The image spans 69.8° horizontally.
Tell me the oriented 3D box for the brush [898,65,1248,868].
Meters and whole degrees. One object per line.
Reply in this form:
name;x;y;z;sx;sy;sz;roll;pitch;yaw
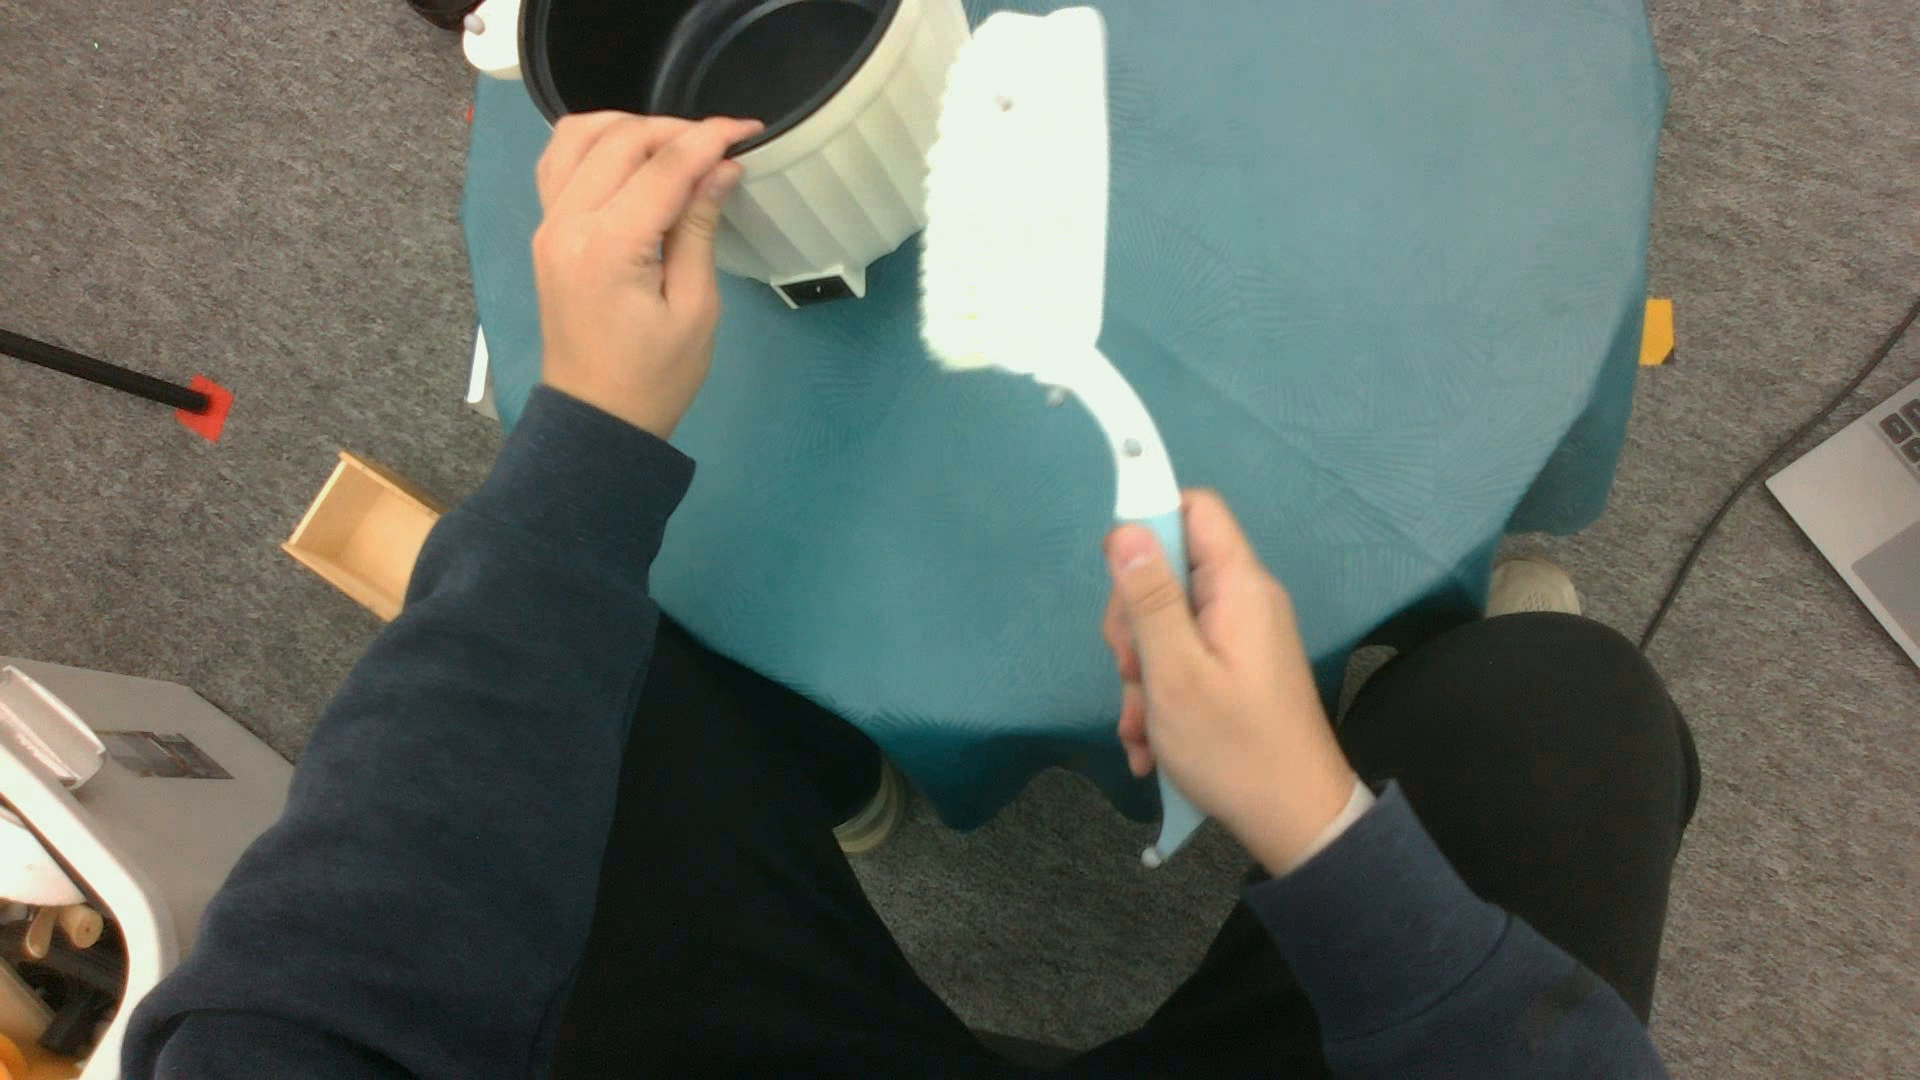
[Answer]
brush;0.033;-0.022;0.550;0.083;0.084;0.325;-16;97;-10

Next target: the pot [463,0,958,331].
pot;-0.095;-0.210;0.651;0.240;0.142;0.191;-10;72;16
